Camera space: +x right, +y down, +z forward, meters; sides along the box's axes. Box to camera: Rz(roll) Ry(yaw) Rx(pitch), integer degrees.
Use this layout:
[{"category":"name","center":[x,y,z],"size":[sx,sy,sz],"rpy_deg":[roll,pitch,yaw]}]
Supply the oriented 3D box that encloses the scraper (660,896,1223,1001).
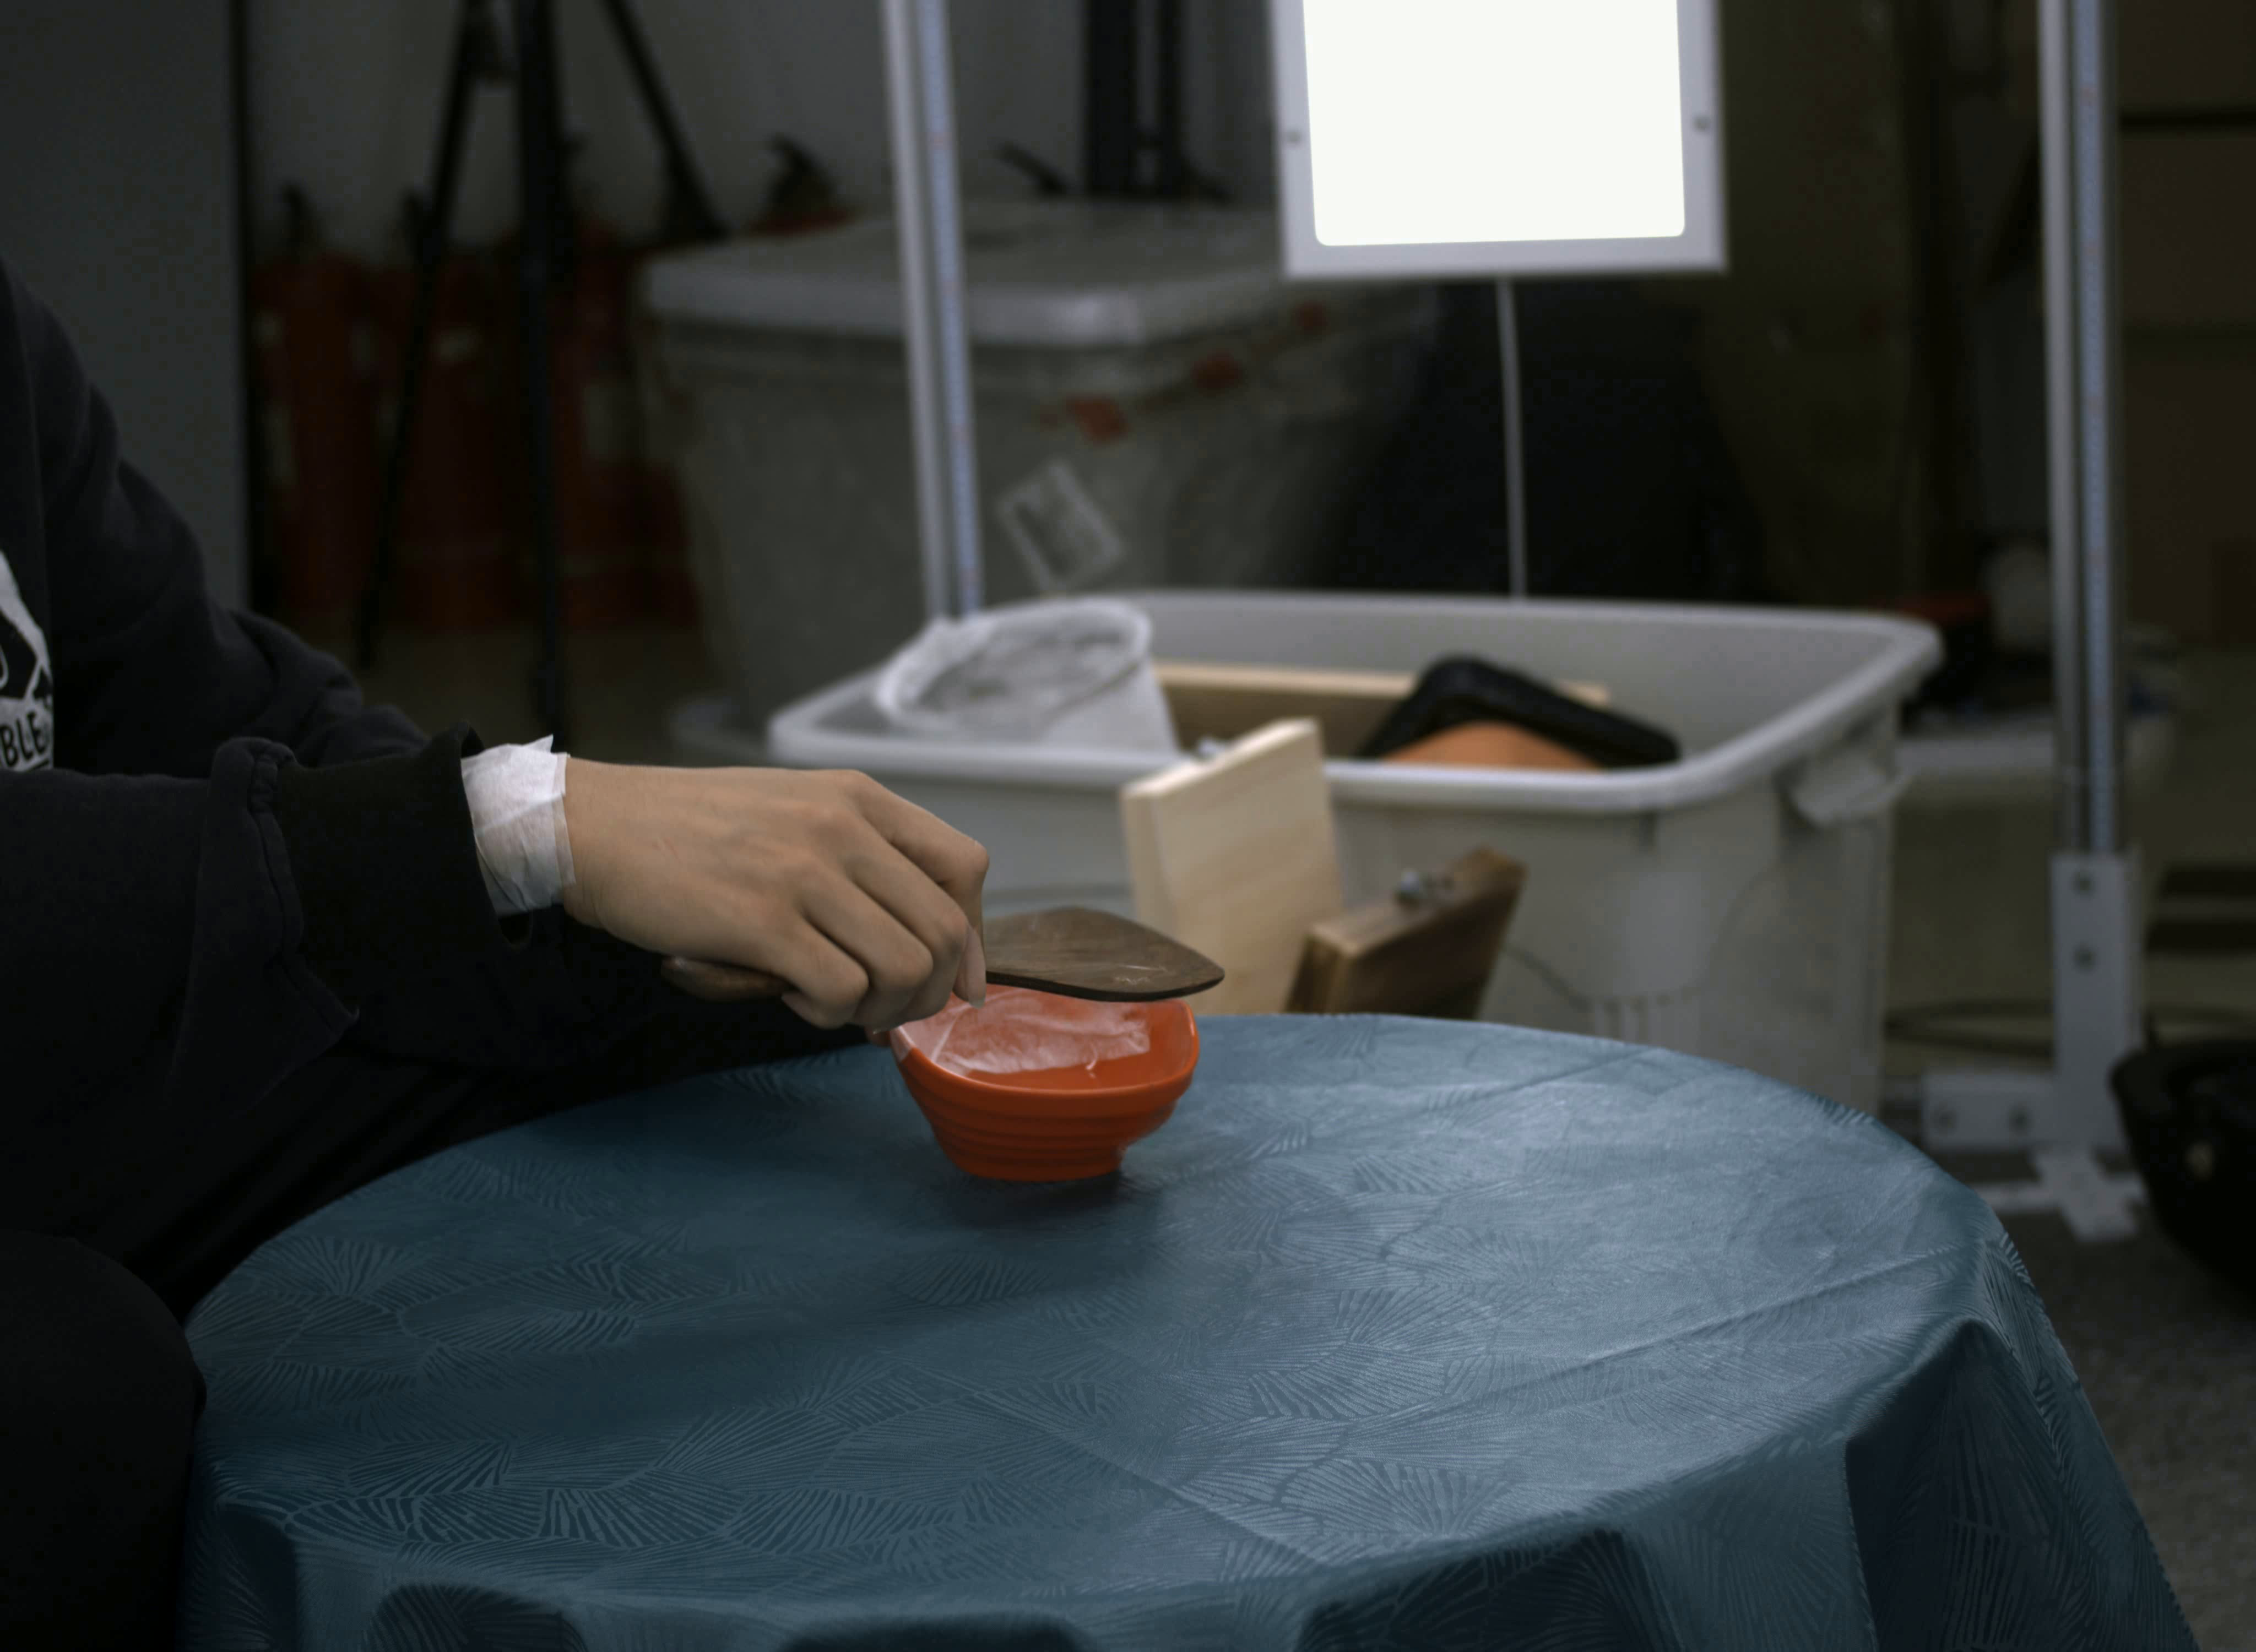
[{"category":"scraper","center":[-0.063,0.044,1.773],"size":[0.206,0.011,0.077],"rpy_deg":[-3,22,-42]}]

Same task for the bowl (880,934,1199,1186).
[{"category":"bowl","center":[-0.034,0.086,1.929],"size":[0.118,0.052,0.118],"rpy_deg":[5,30,-4]}]
